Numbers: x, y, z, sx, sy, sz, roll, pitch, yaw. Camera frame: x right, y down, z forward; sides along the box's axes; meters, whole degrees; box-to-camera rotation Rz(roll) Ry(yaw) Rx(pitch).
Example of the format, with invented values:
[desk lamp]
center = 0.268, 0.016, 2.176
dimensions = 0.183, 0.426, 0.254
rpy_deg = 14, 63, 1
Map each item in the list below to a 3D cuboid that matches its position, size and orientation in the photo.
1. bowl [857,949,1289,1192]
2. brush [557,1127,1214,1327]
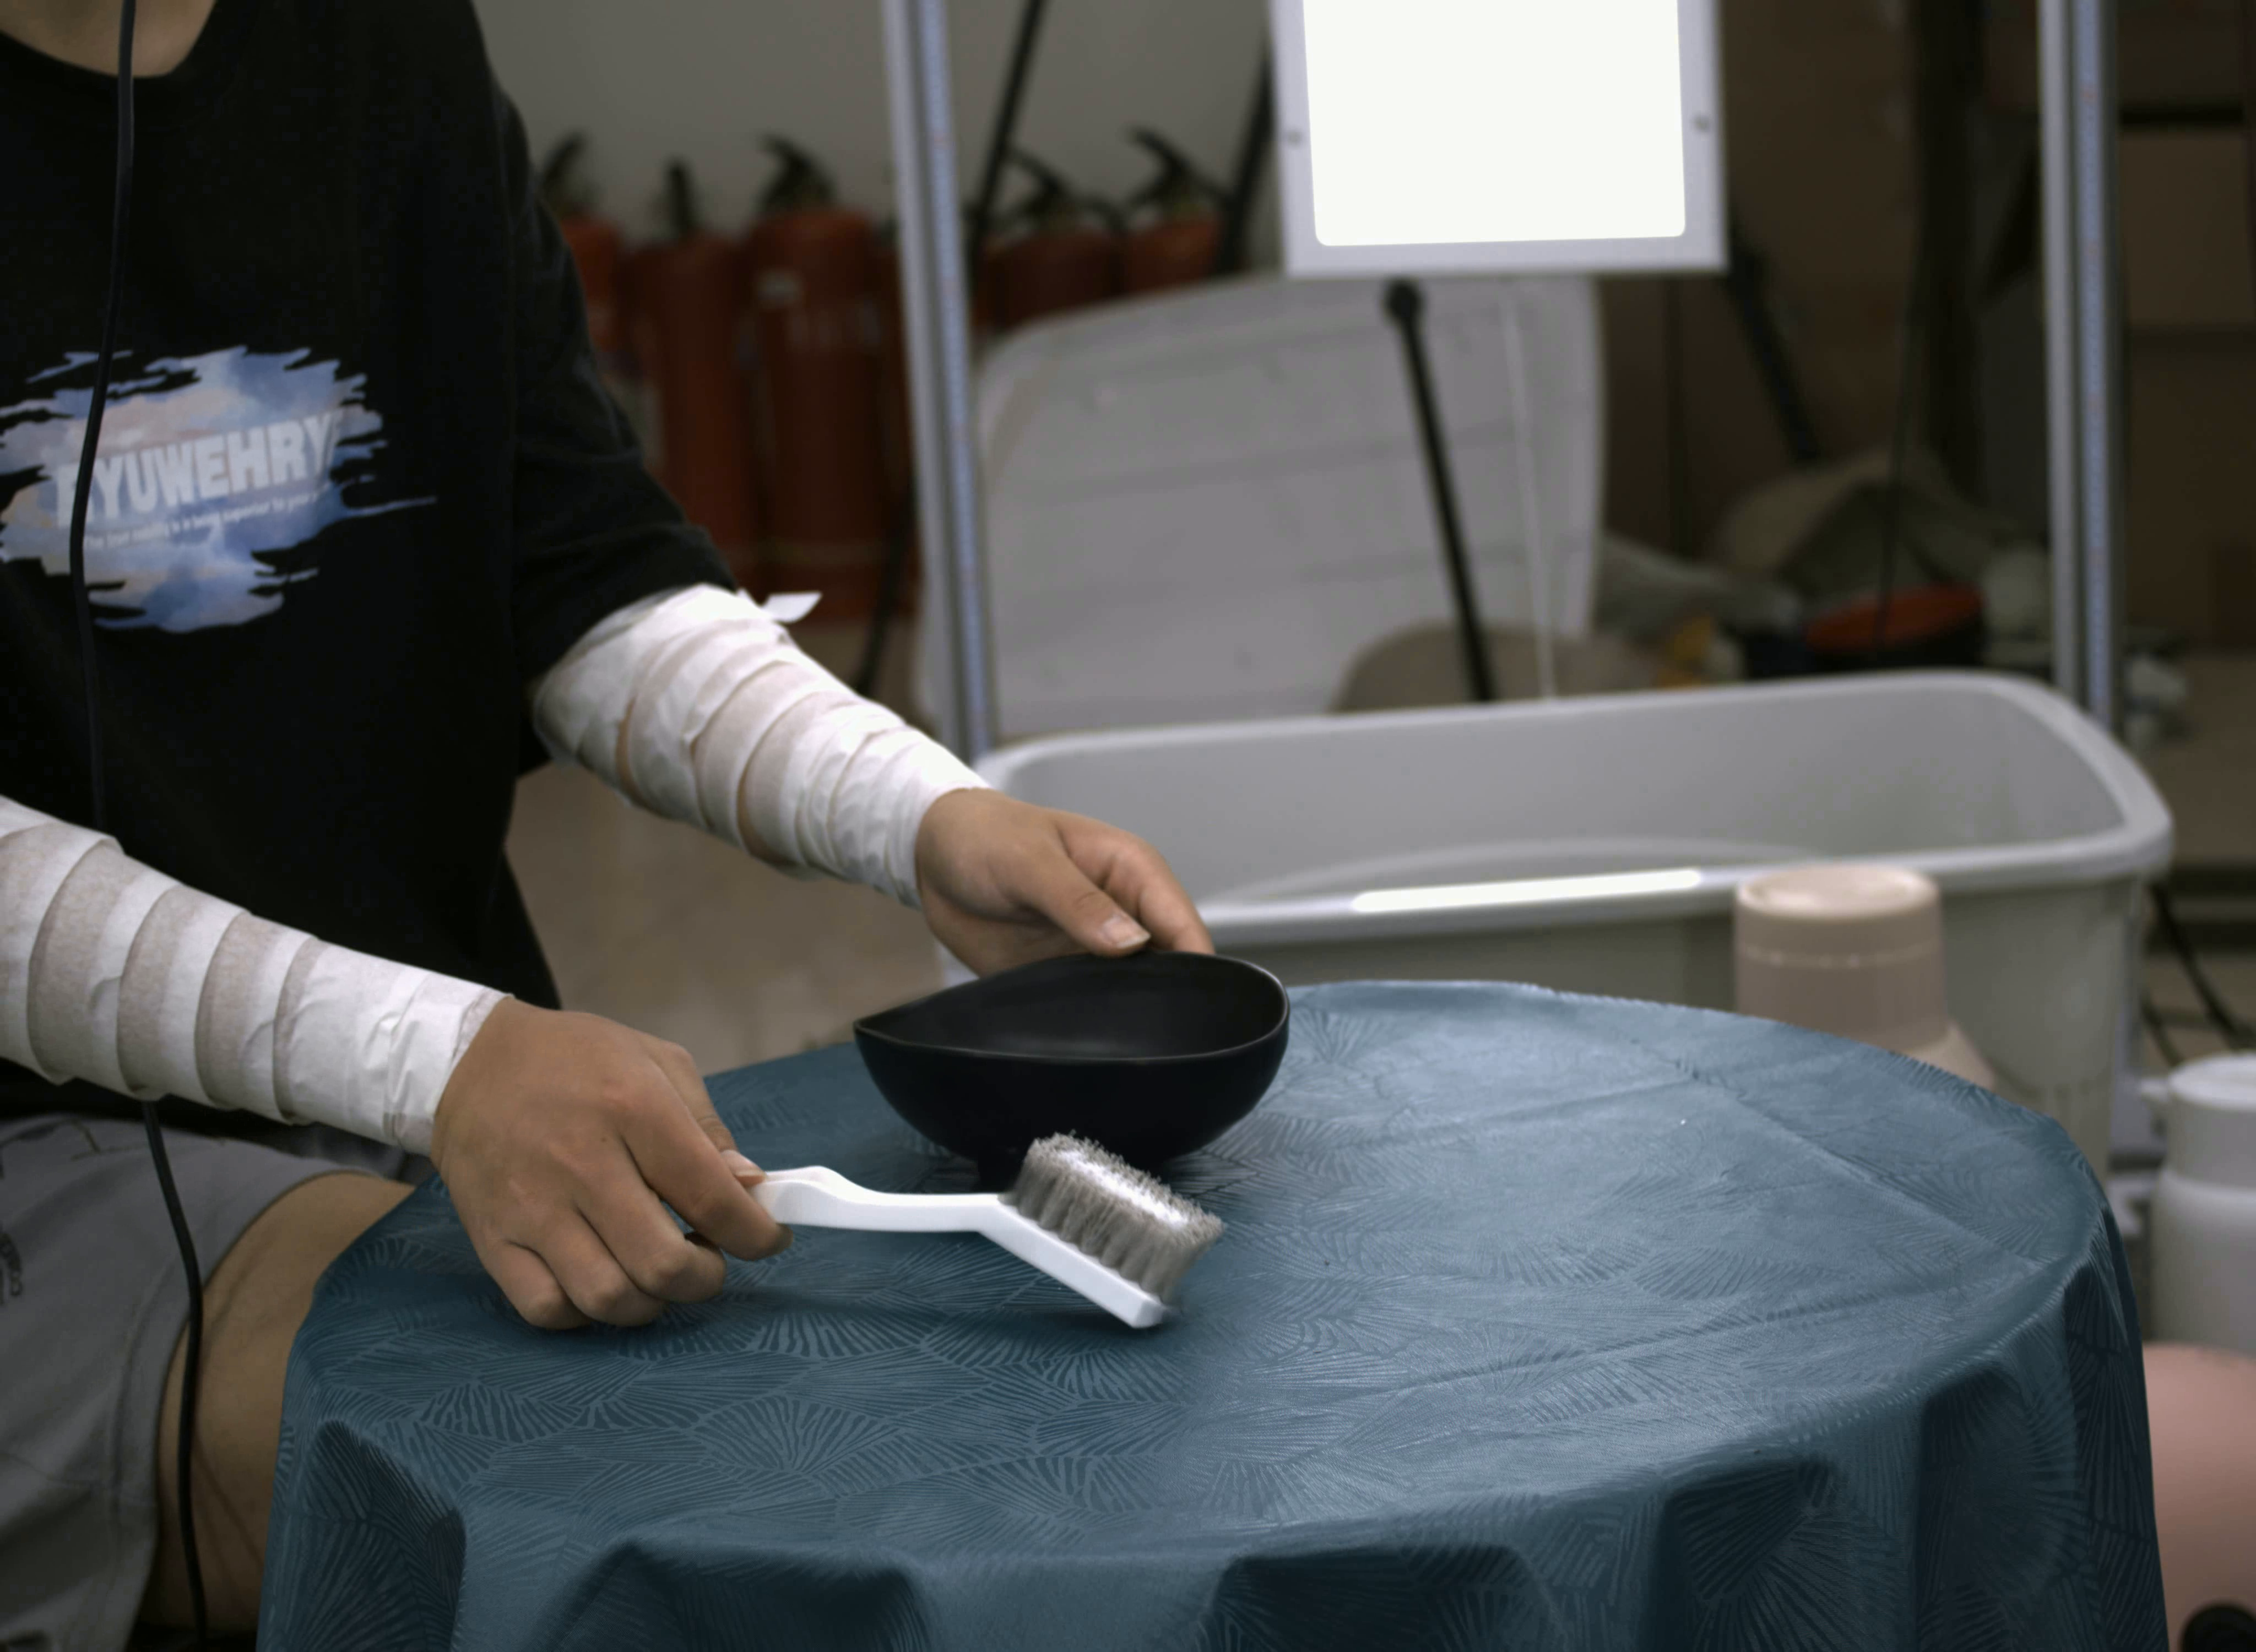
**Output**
[bowl]
center = -0.019, 0.090, 1.922
dimensions = 0.174, 0.067, 0.134
rpy_deg = 5, 16, 43
[brush]
center = -0.083, 0.111, 1.801
dimensions = 0.248, 0.050, 0.033
rpy_deg = 13, 18, 29
